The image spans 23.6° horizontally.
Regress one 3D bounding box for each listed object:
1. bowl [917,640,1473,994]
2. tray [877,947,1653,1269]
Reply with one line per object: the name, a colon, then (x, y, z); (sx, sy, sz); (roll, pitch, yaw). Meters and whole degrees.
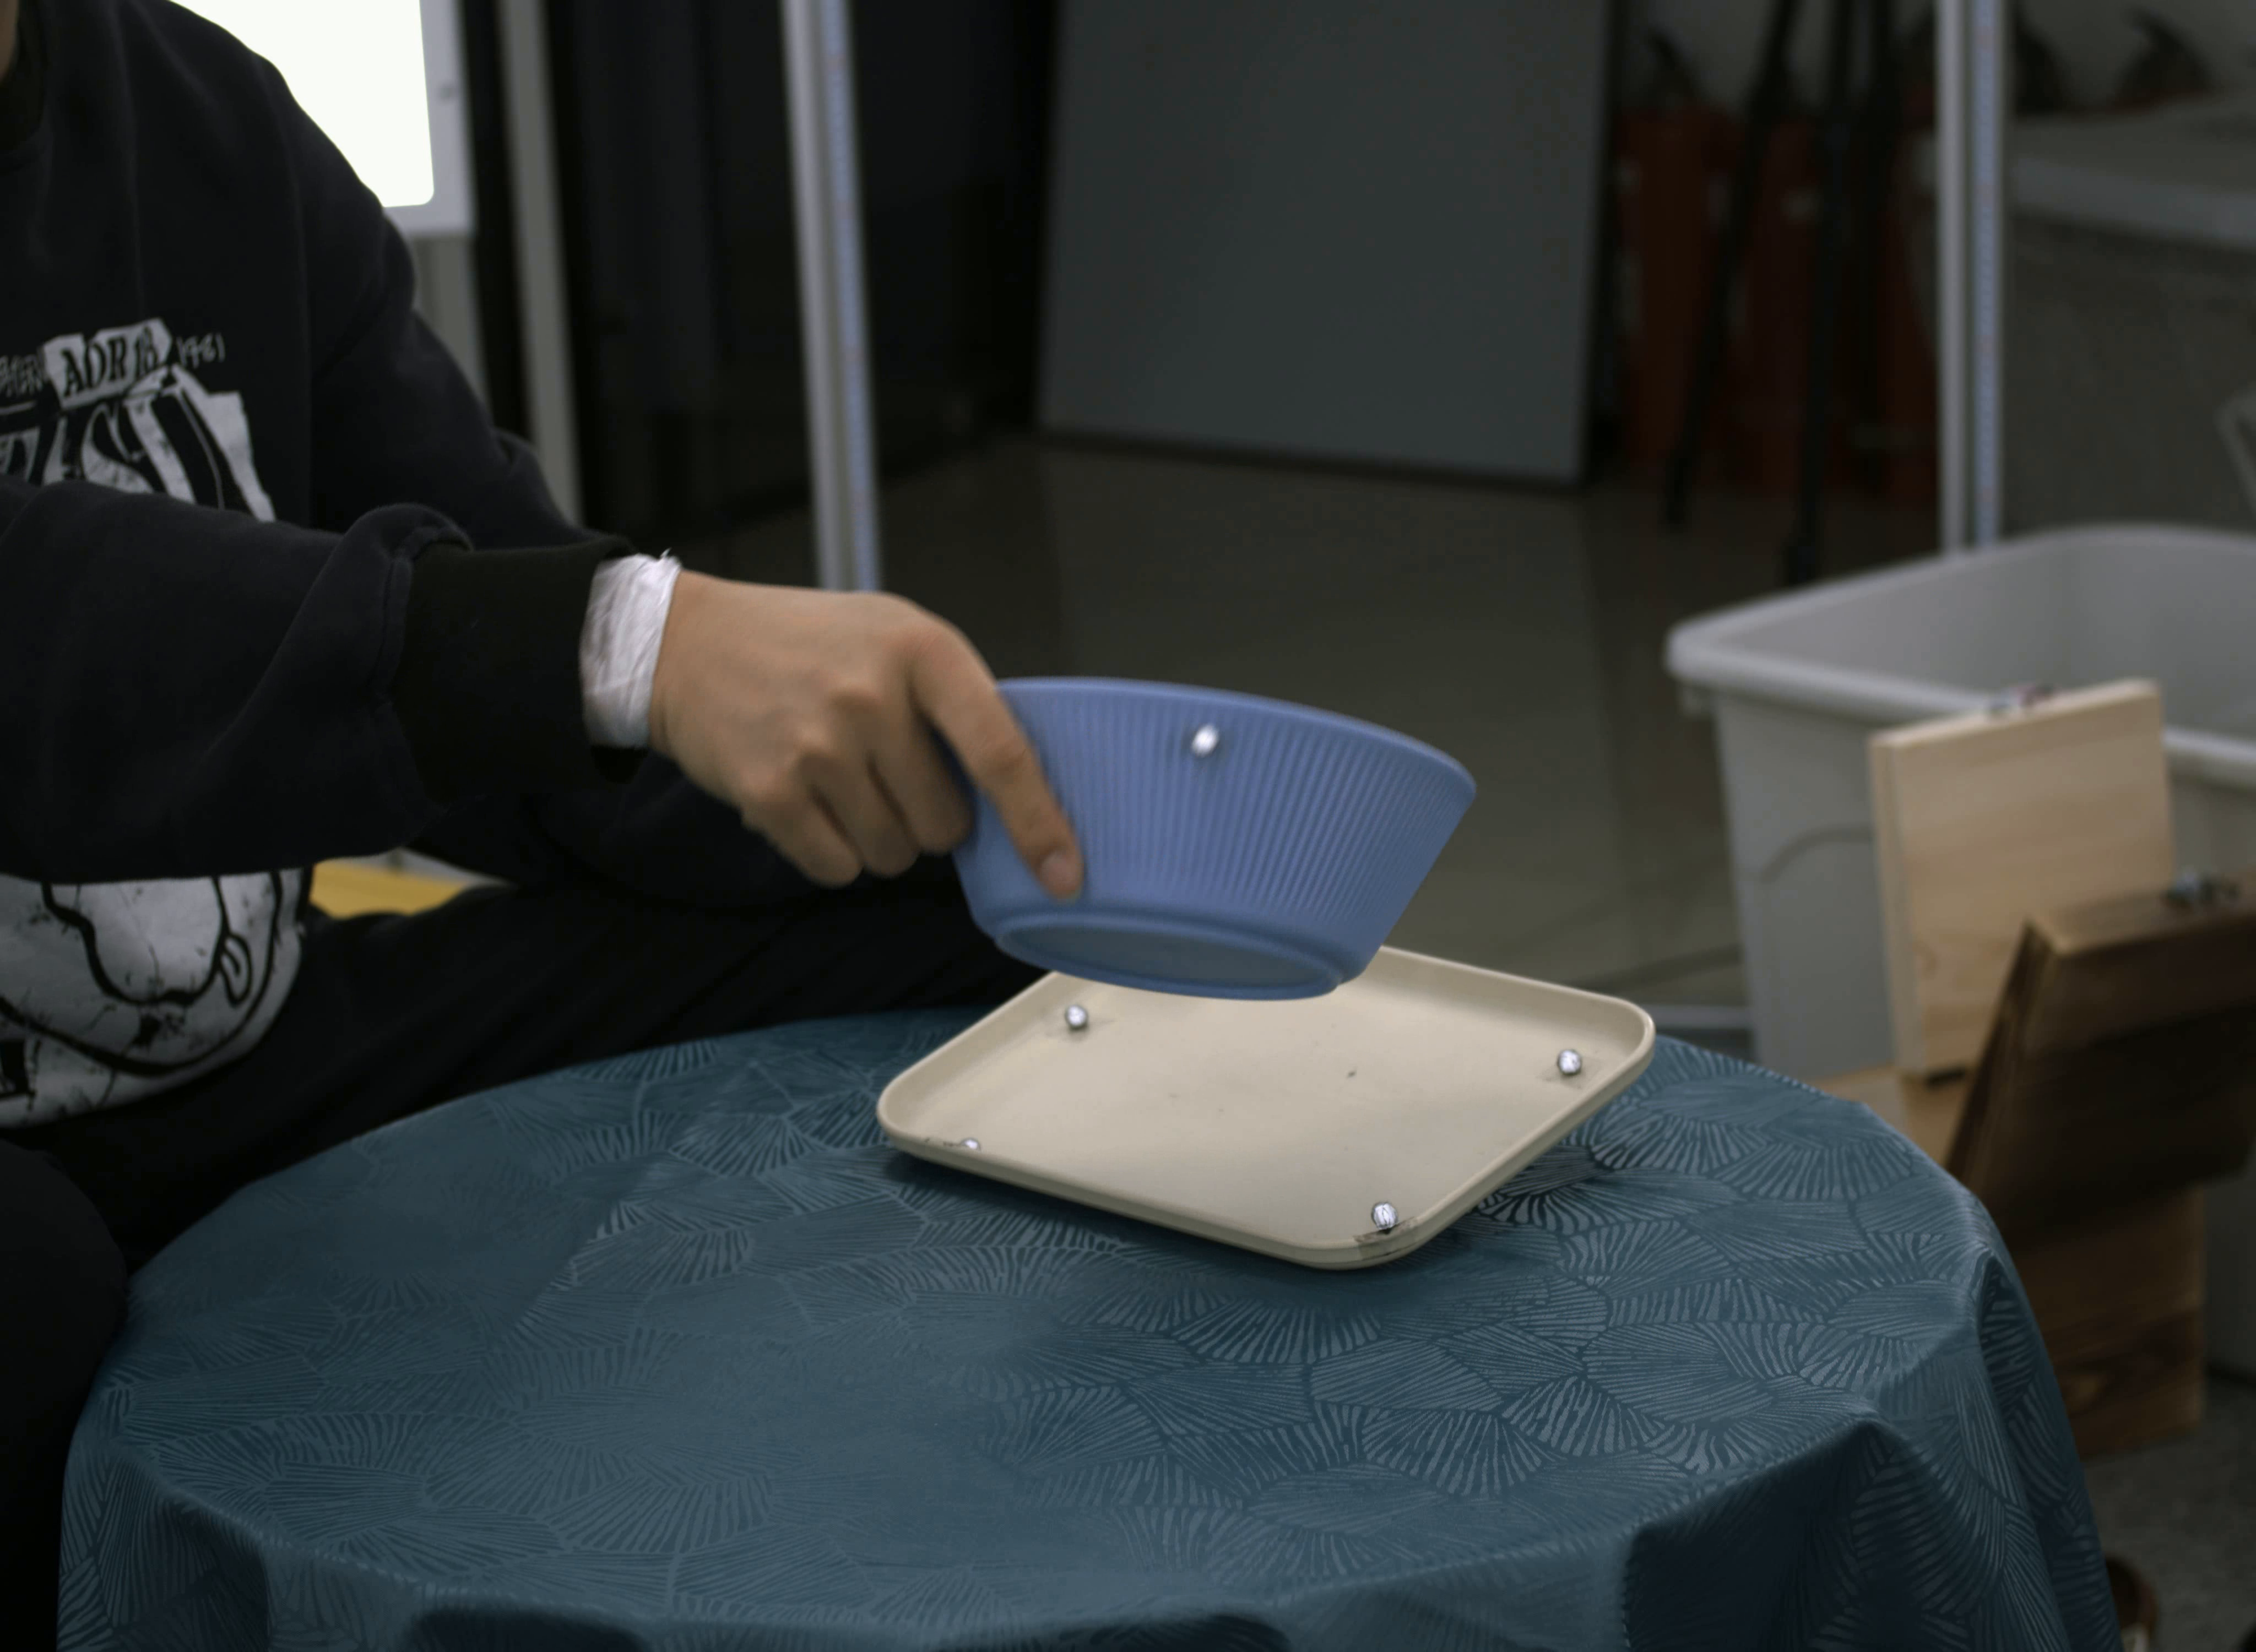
bowl: (0.016, 0.004, 1.659); (0.174, 0.071, 0.176); (9, -15, 1)
tray: (0.045, 0.087, 1.788); (0.242, 0.017, 0.168); (11, 33, 43)
